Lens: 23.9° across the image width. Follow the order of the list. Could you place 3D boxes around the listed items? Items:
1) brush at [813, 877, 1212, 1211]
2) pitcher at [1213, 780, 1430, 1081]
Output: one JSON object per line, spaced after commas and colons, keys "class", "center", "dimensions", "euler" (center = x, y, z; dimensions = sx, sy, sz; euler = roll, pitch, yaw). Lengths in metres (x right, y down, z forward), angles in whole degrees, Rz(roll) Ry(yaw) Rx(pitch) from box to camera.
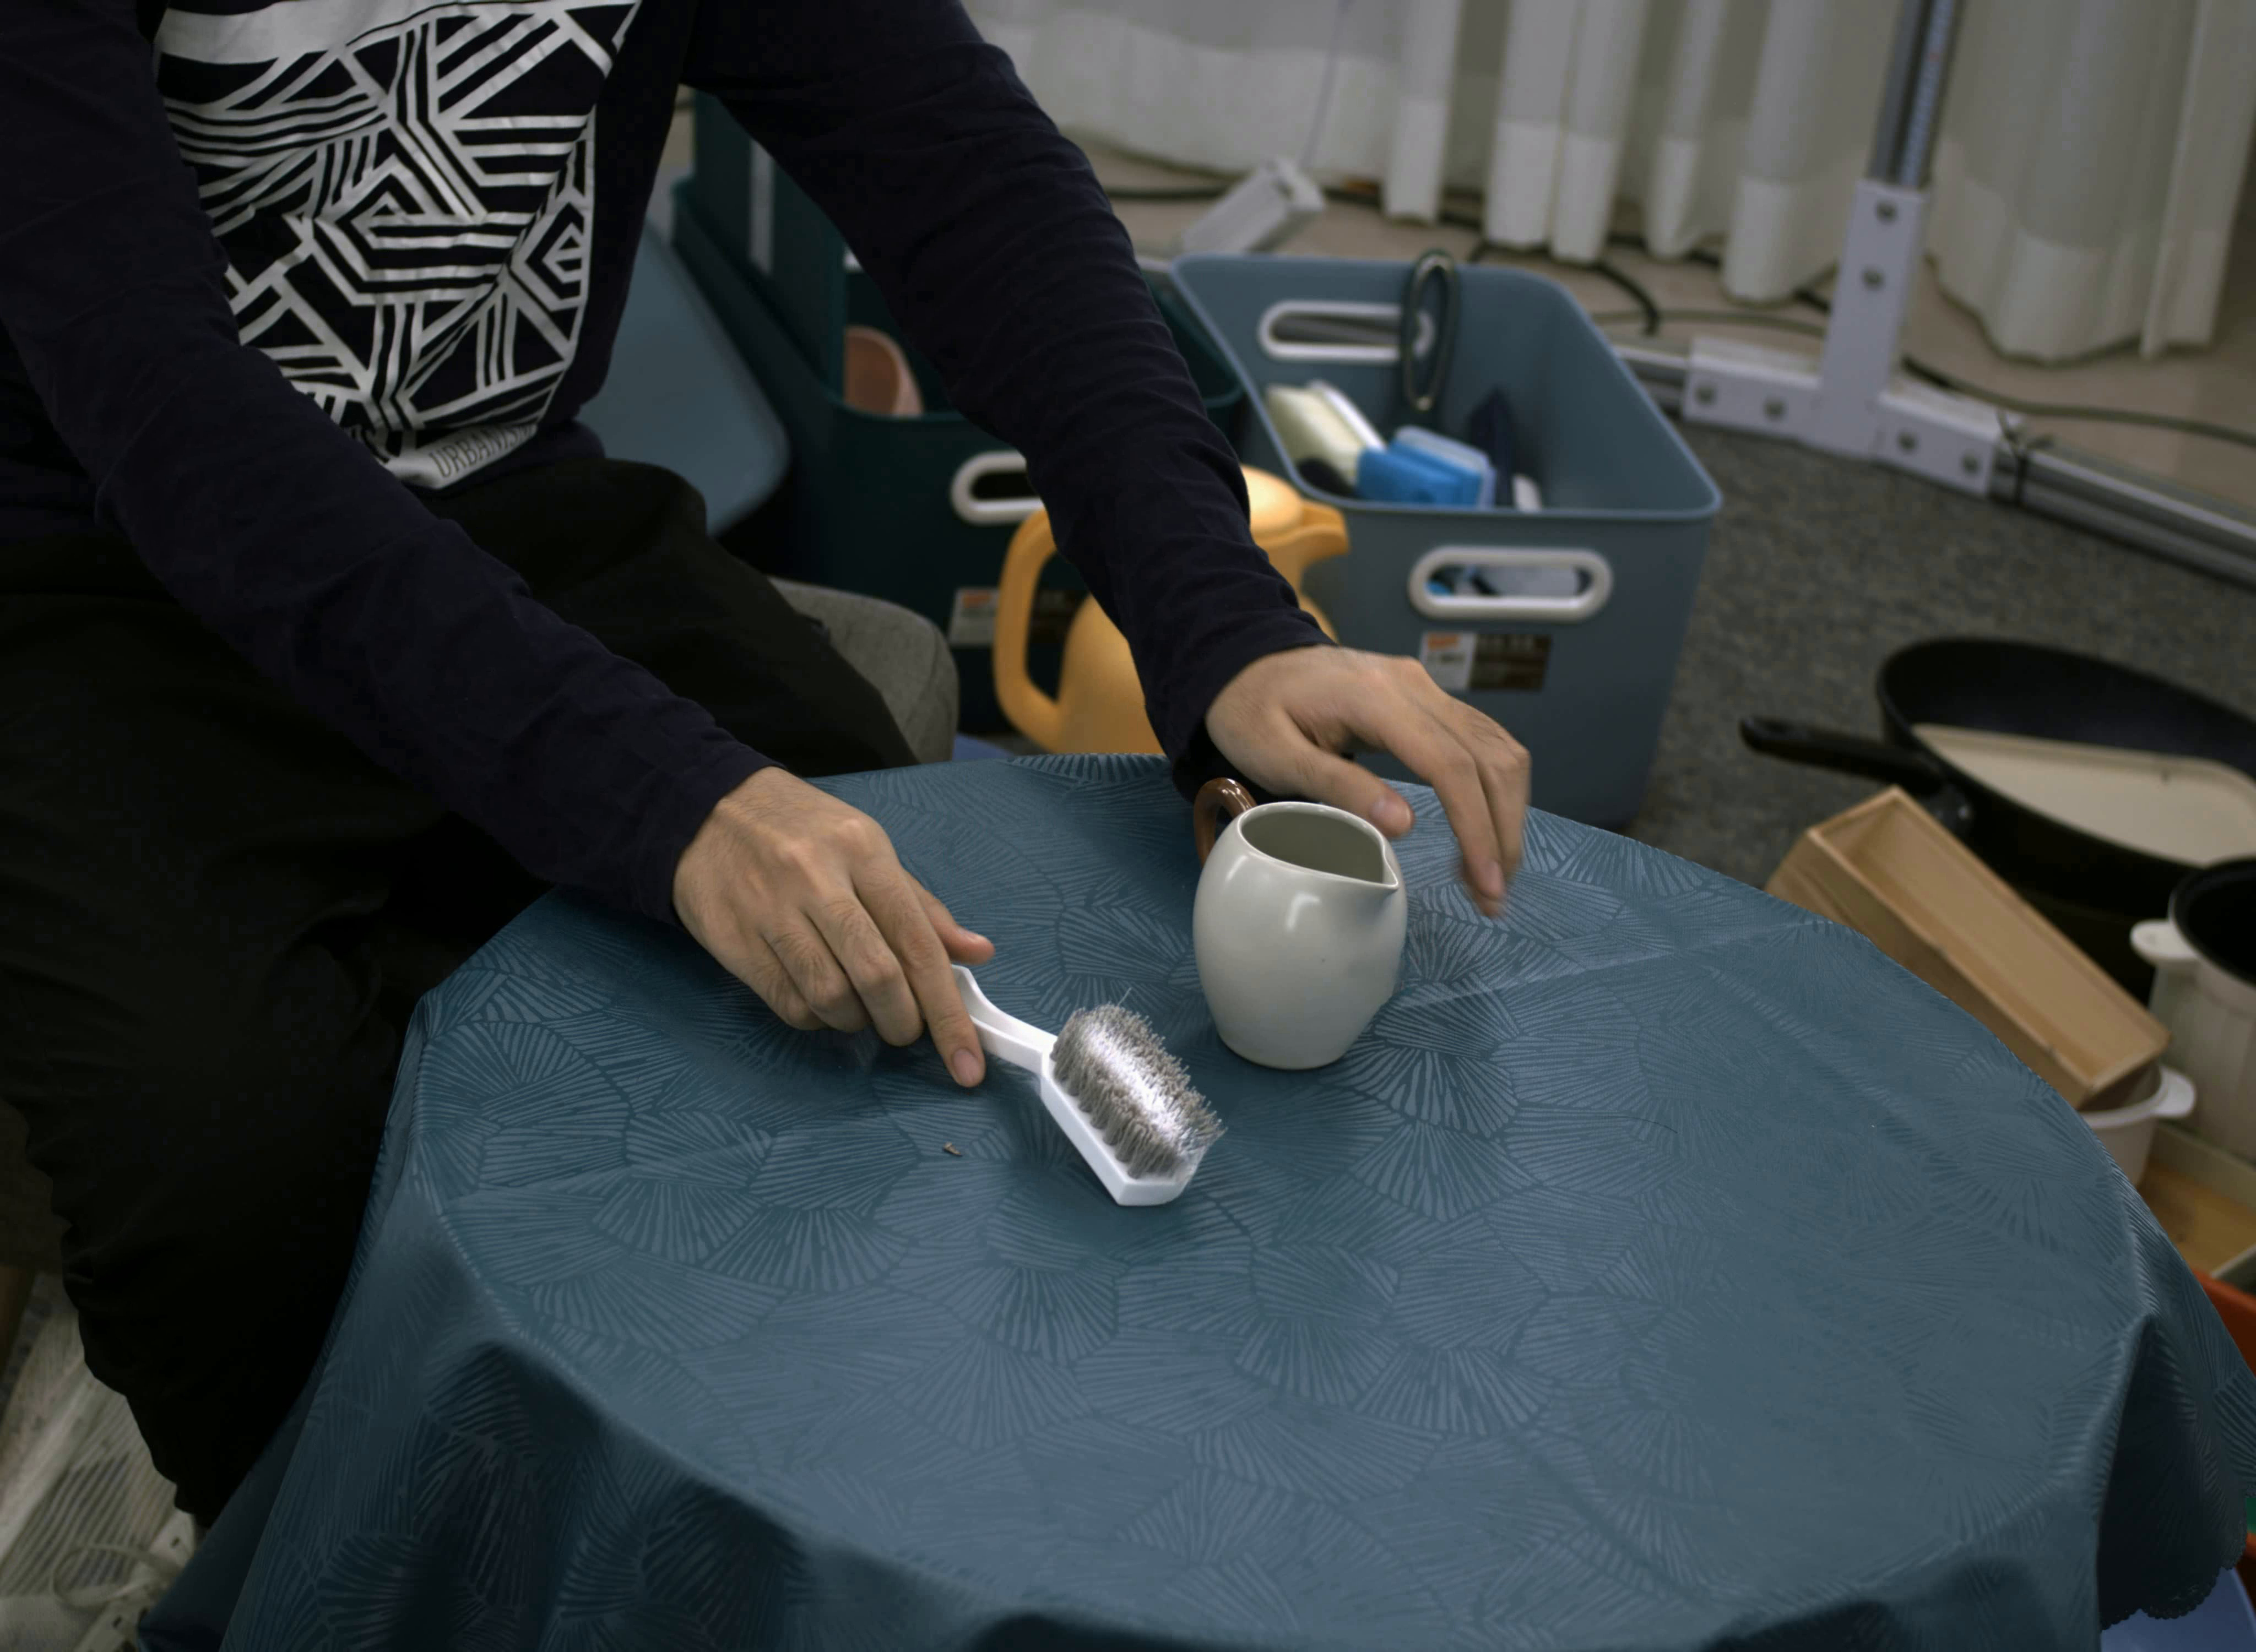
{"class": "brush", "center": [-0.046, 0.059, 1.871], "dimensions": [0.034, 0.050, 0.246], "euler": [-16, 34, -27]}
{"class": "pitcher", "center": [0.063, 0.038, 1.890], "dimensions": [0.075, 0.087, 0.120], "euler": [-5, 31, -31]}
